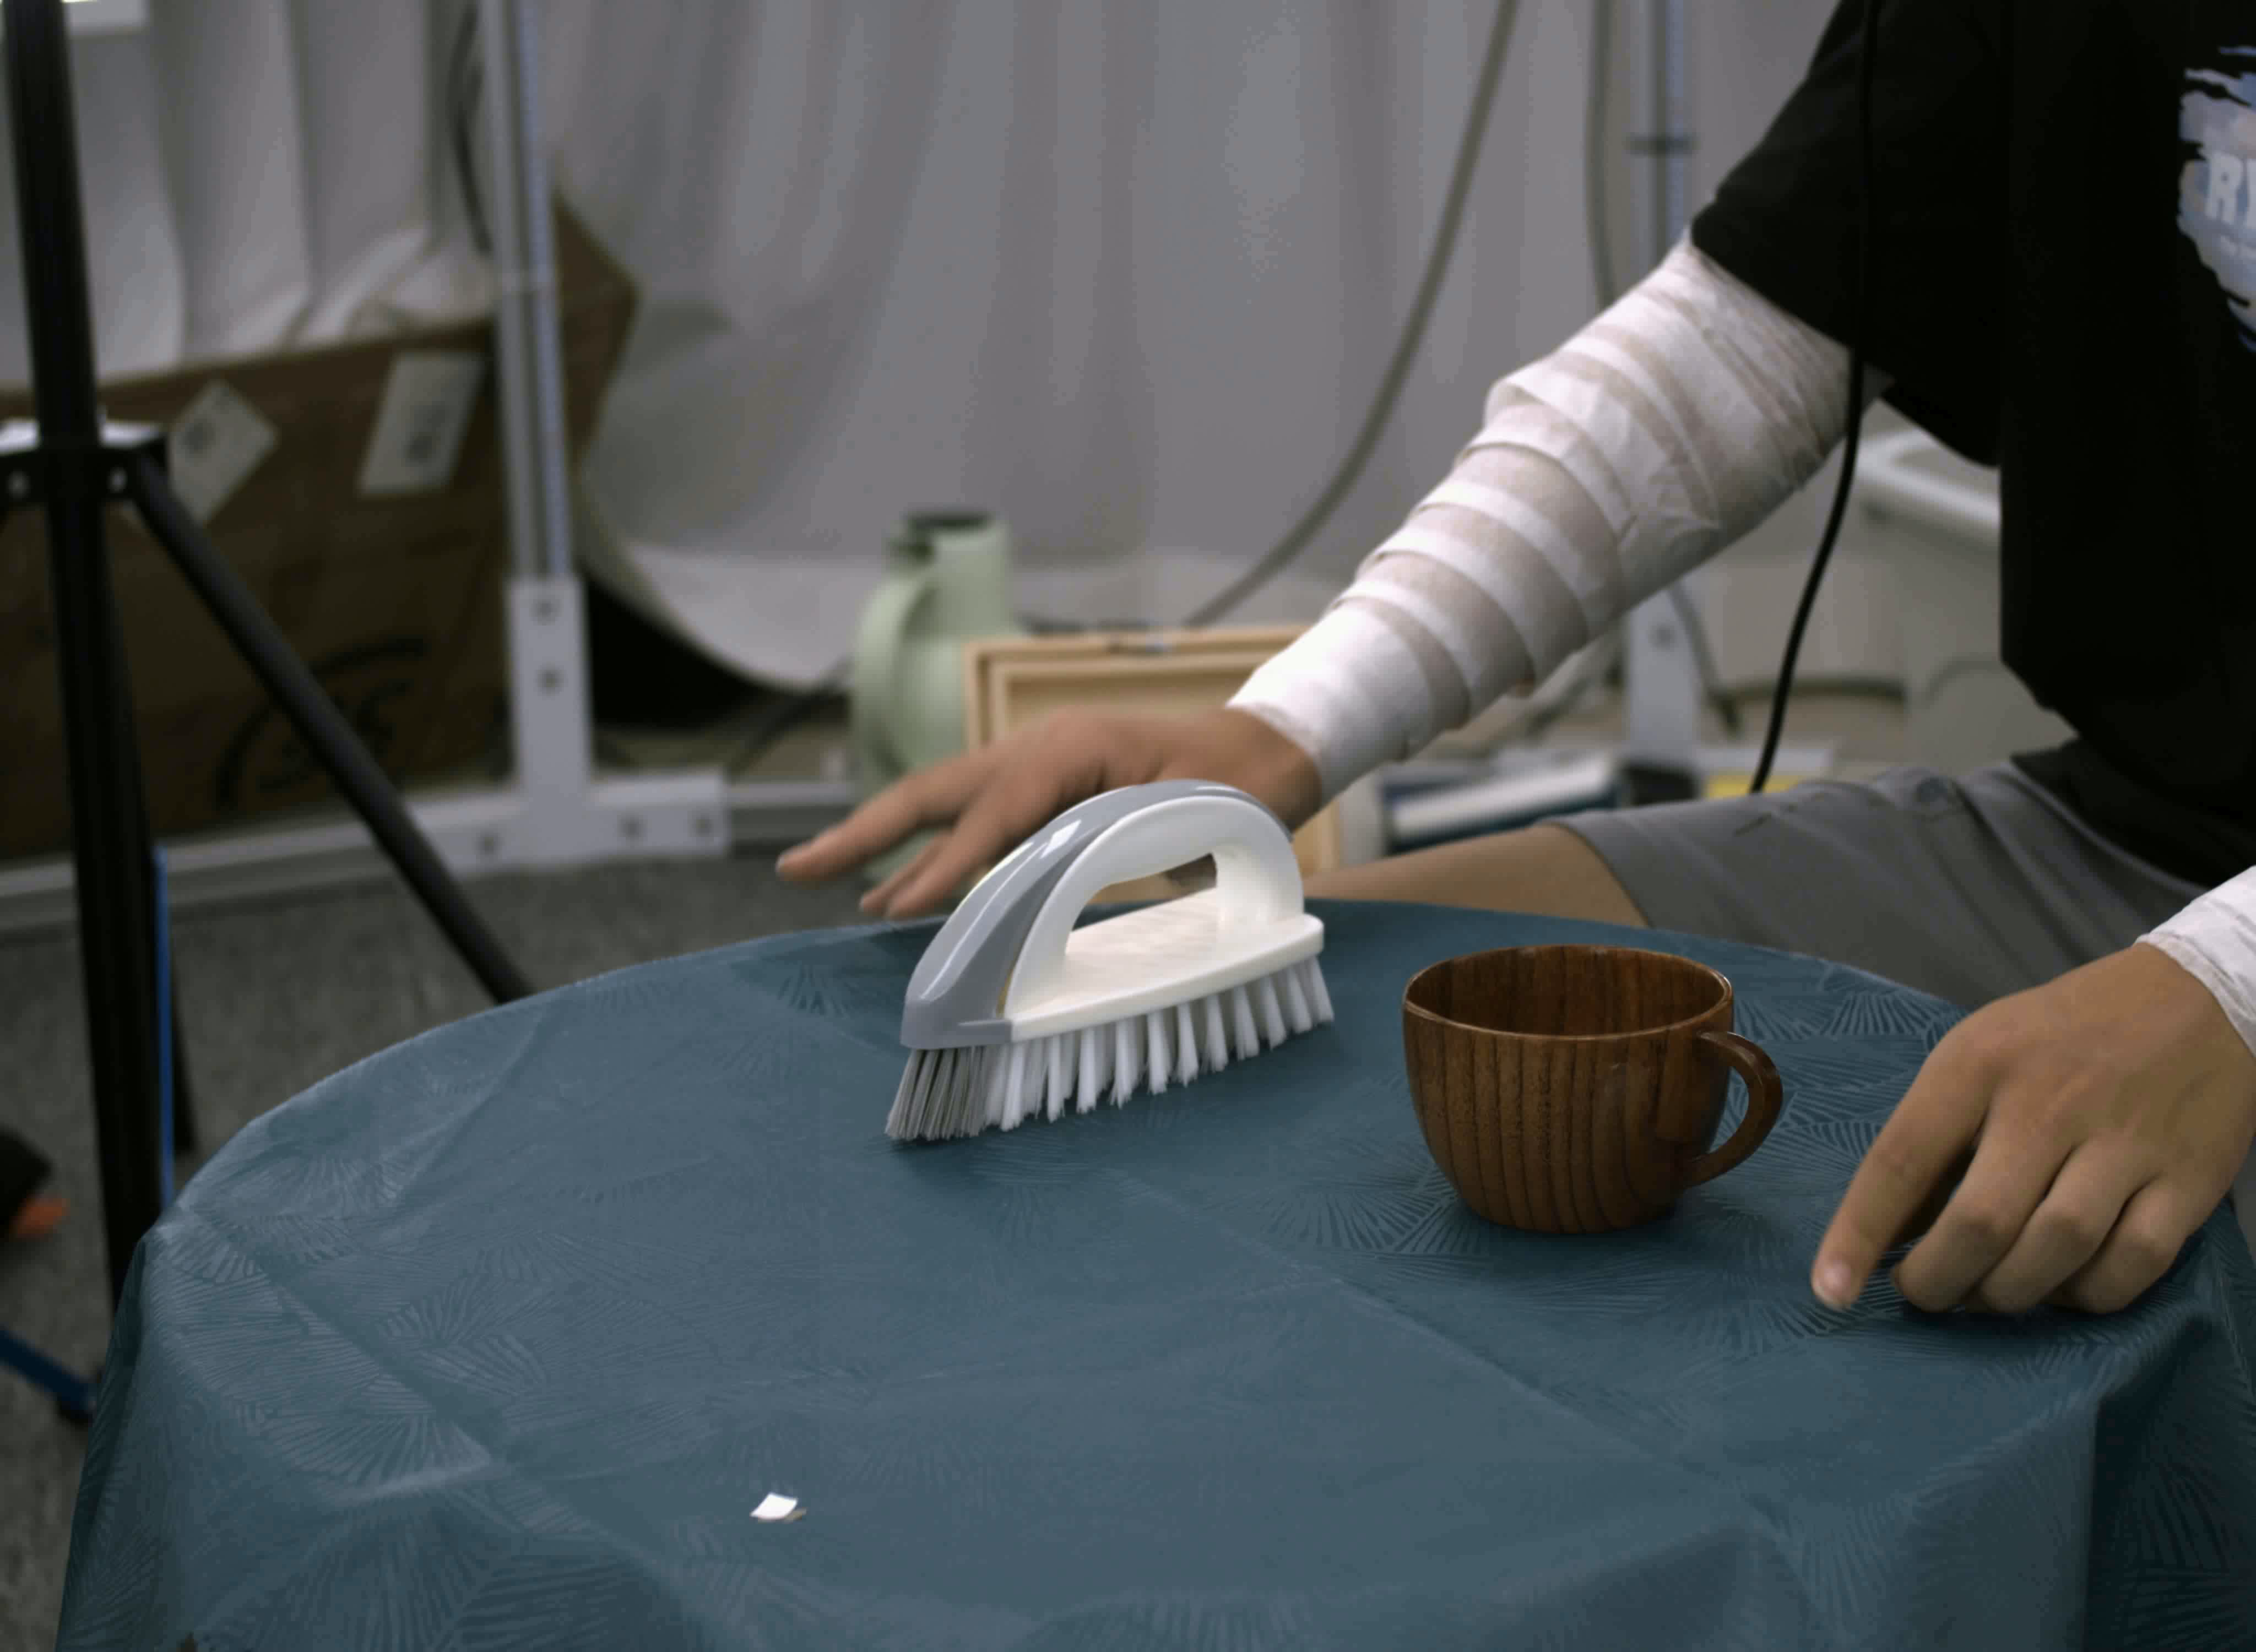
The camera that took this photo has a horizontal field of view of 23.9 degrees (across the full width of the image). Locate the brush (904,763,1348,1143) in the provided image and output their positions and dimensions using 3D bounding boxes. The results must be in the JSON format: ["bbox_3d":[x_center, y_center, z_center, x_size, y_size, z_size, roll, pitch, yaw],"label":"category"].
[{"bbox_3d":[-0.008,0.036,1.650,0.171,0.094,0.063,-19,19,-41],"label":"brush"}]

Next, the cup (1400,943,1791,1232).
[{"bbox_3d":[0.136,0.079,1.519,0.122,0.068,0.094,11,18,38],"label":"cup"}]
